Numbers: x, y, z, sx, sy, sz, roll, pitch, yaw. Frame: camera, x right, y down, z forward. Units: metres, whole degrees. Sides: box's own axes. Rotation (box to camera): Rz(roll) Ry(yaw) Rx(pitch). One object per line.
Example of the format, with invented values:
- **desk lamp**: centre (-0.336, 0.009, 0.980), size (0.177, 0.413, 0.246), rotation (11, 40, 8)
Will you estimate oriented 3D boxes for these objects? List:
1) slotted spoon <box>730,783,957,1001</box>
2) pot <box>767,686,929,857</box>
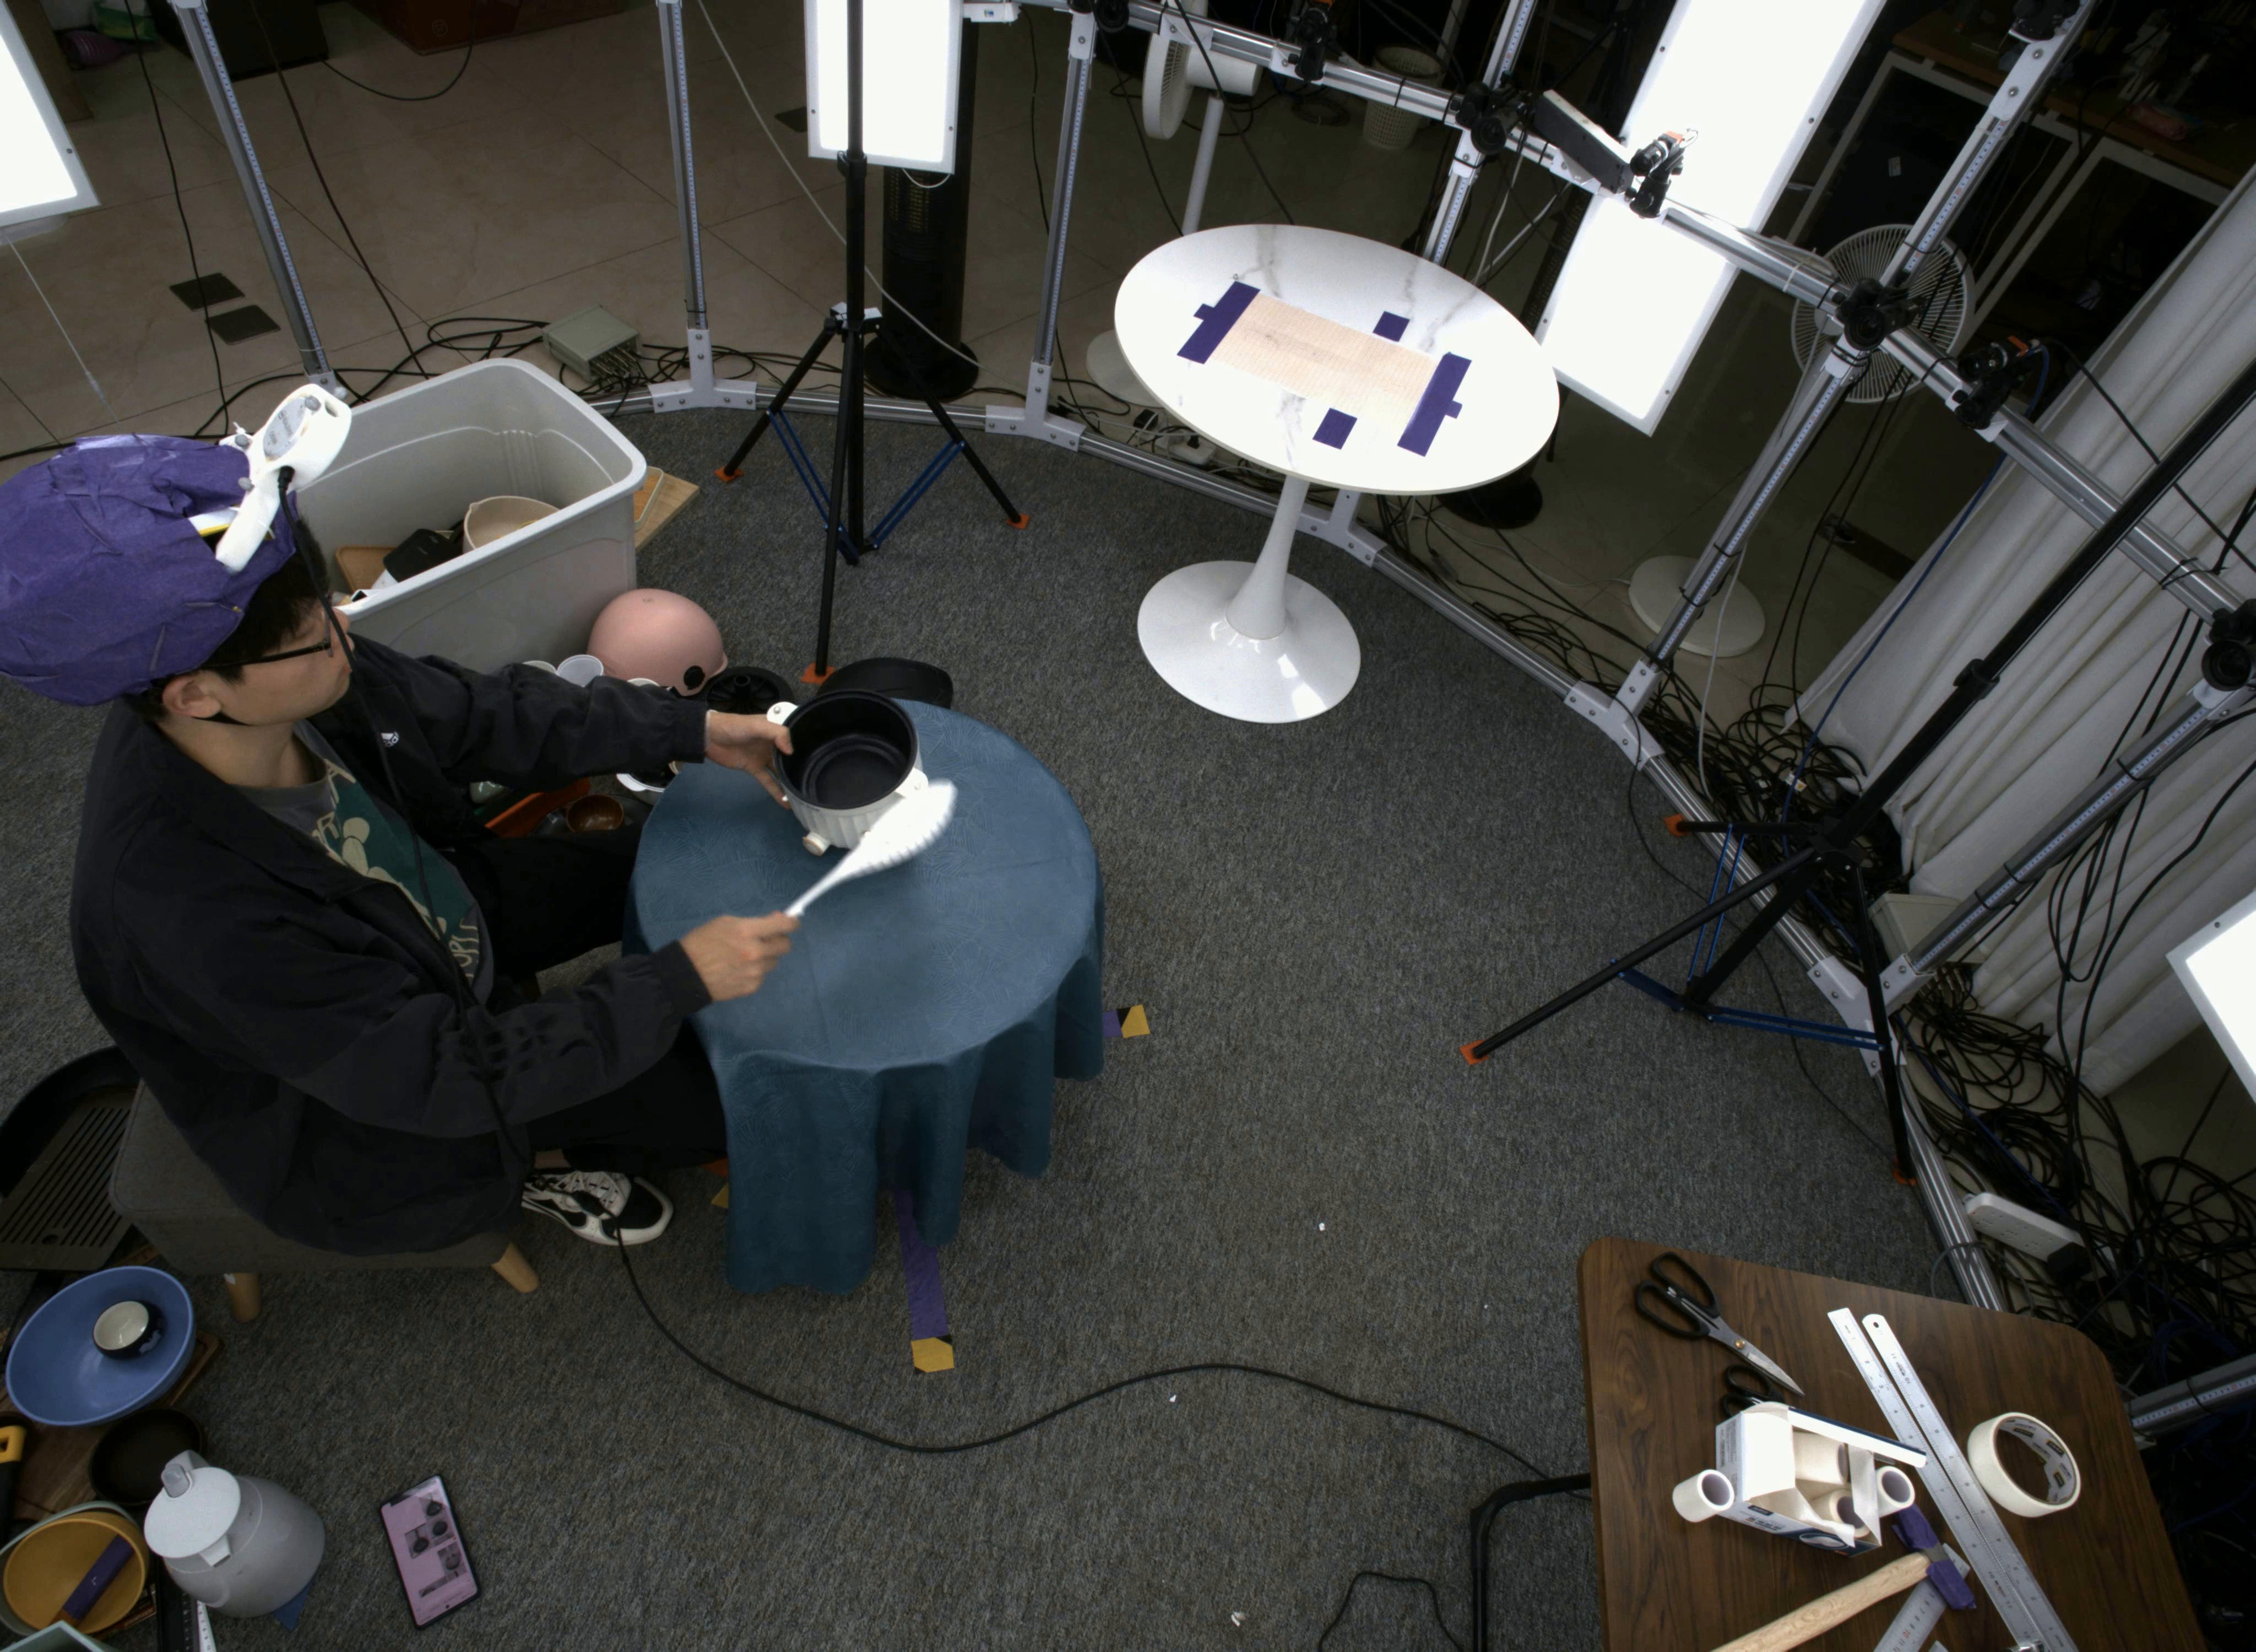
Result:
- **slotted spoon**: centre (-0.328, 0.070, 1.492), size (0.348, 0.133, 0.052), rotation (-38, 110, -17)
- **pot**: centre (-0.358, -0.063, 1.683), size (0.235, 0.146, 0.190), rotation (26, 58, 12)
